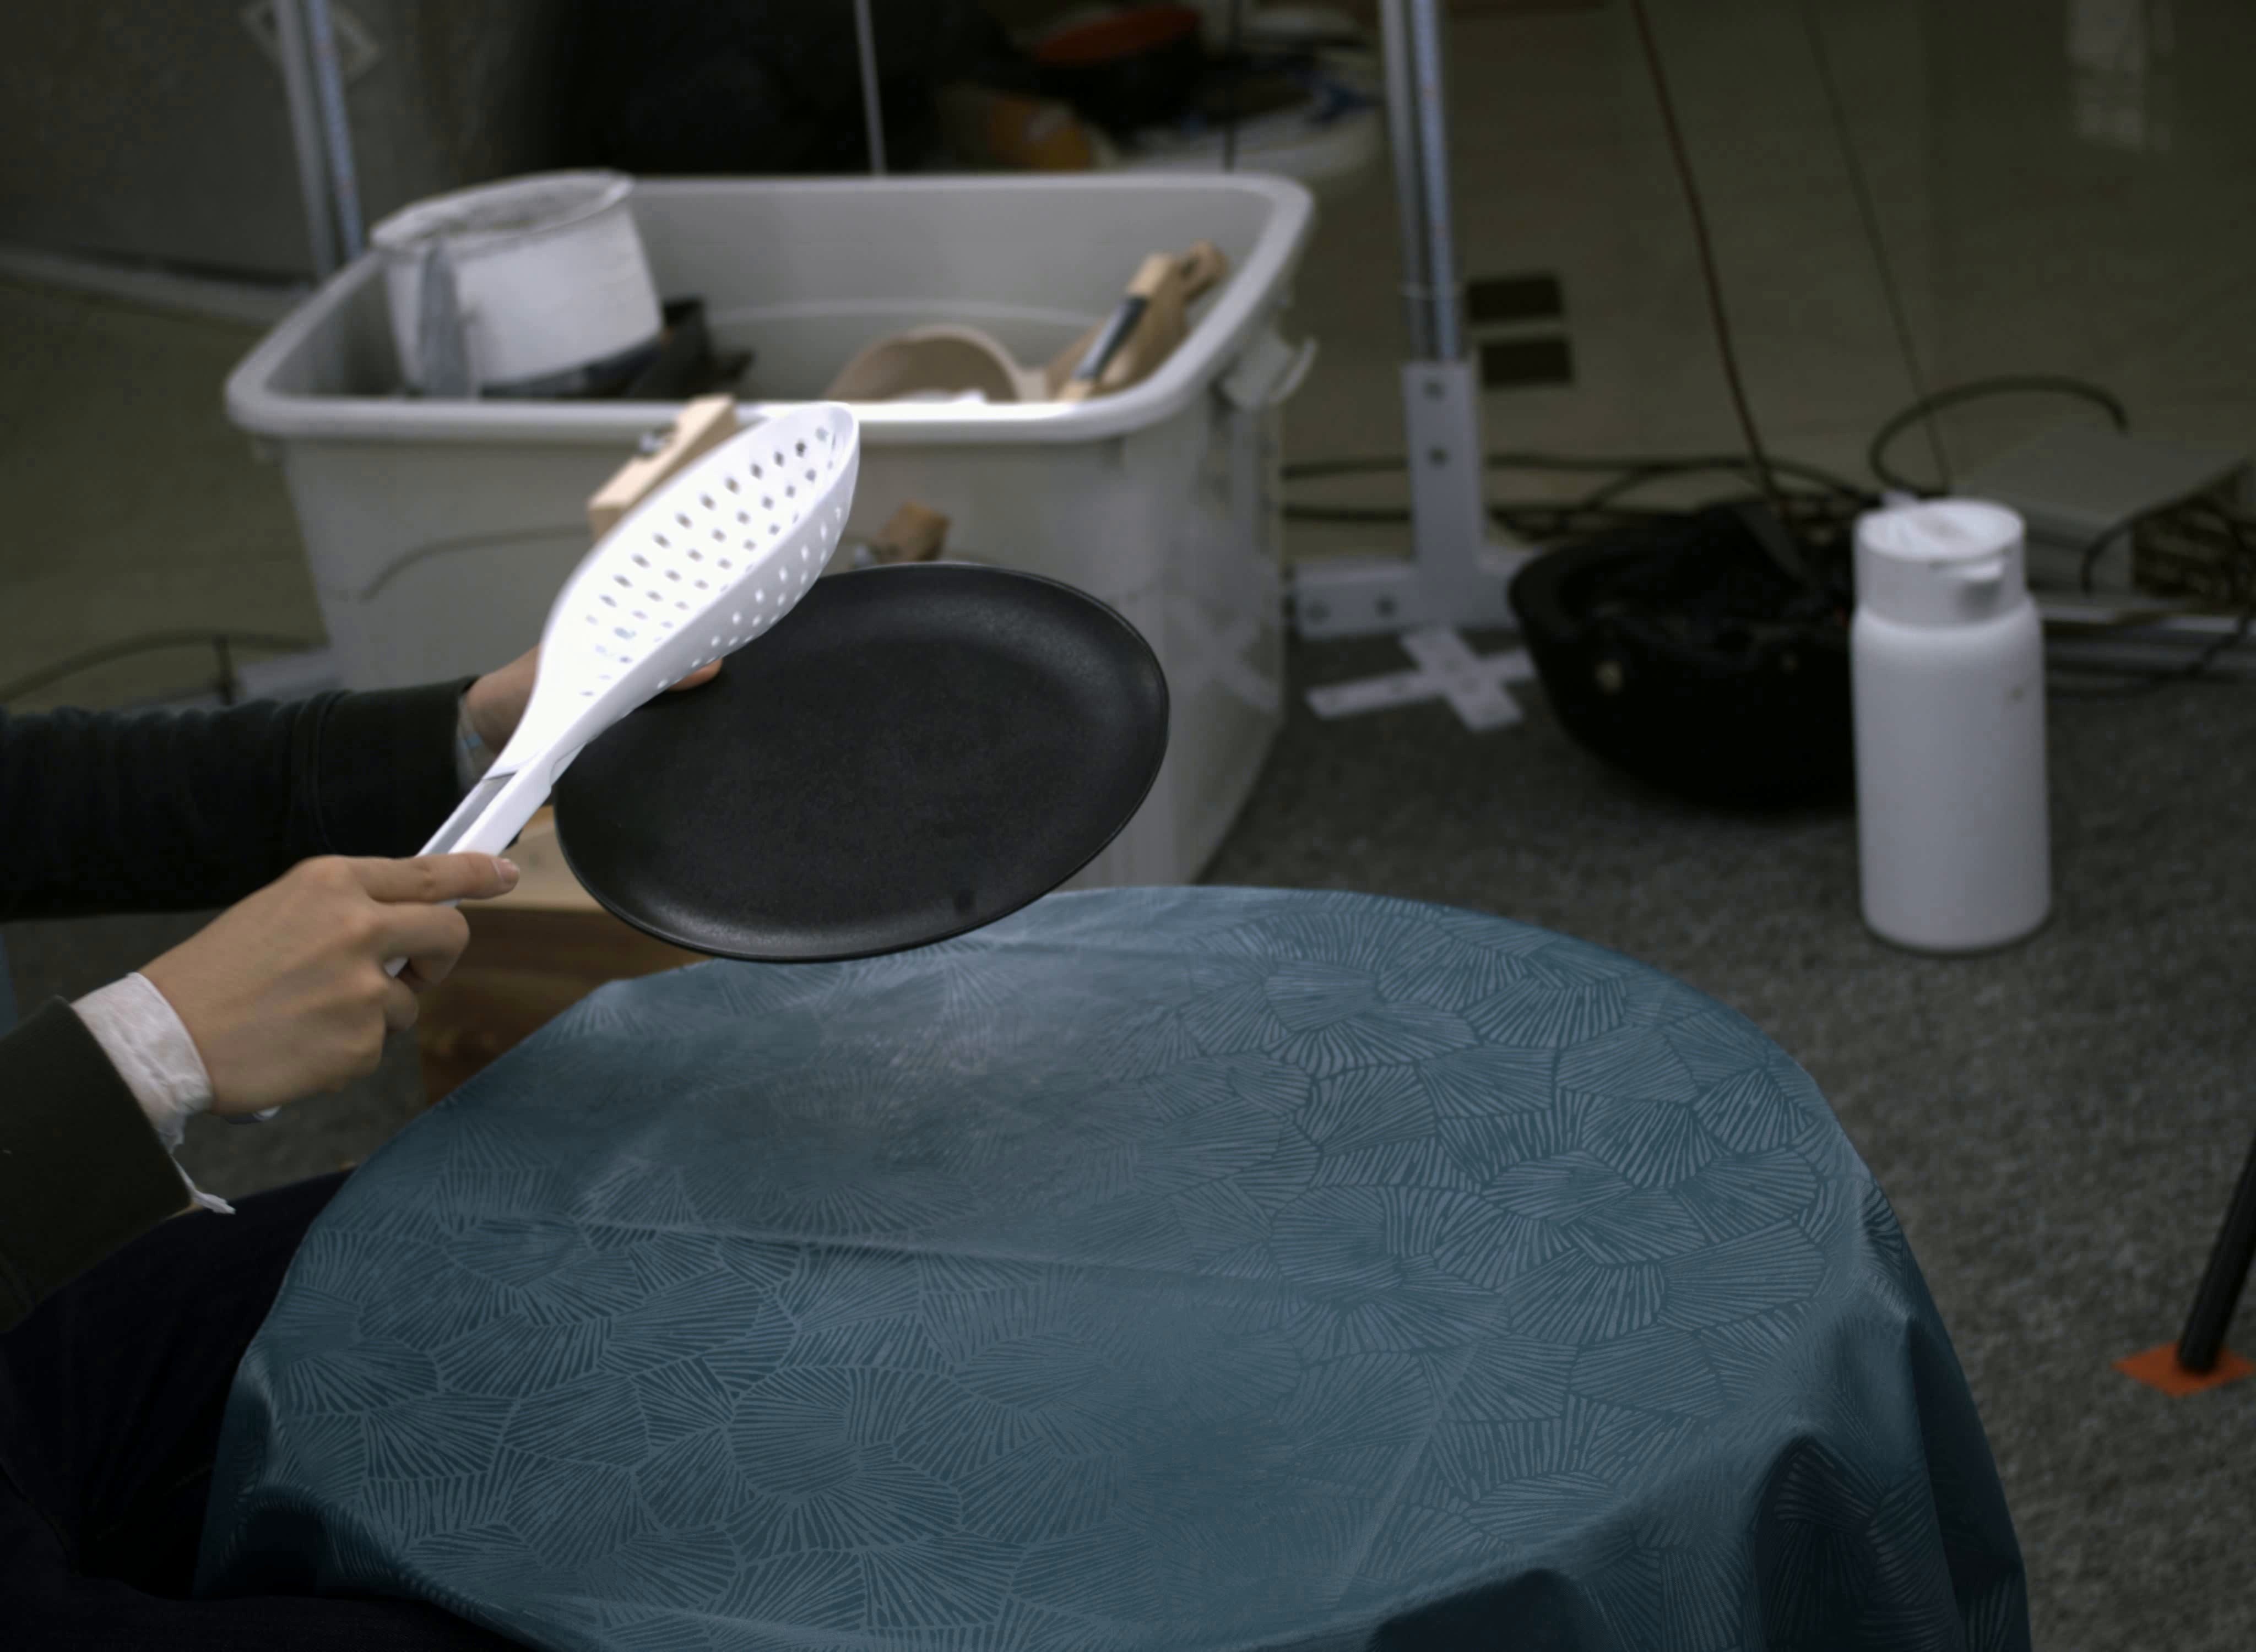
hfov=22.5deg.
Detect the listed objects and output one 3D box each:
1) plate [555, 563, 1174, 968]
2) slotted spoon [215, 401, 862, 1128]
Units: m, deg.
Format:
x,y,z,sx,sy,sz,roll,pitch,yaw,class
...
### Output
x,y,z,sx,sy,sz,roll,pitch,yaw,class
-0.101,-0.020,2.188,0.244,0.024,0.240,-7,40,6,plate
-0.201,-0.025,1.936,0.136,0.046,0.345,-5,36,48,slotted spoon
